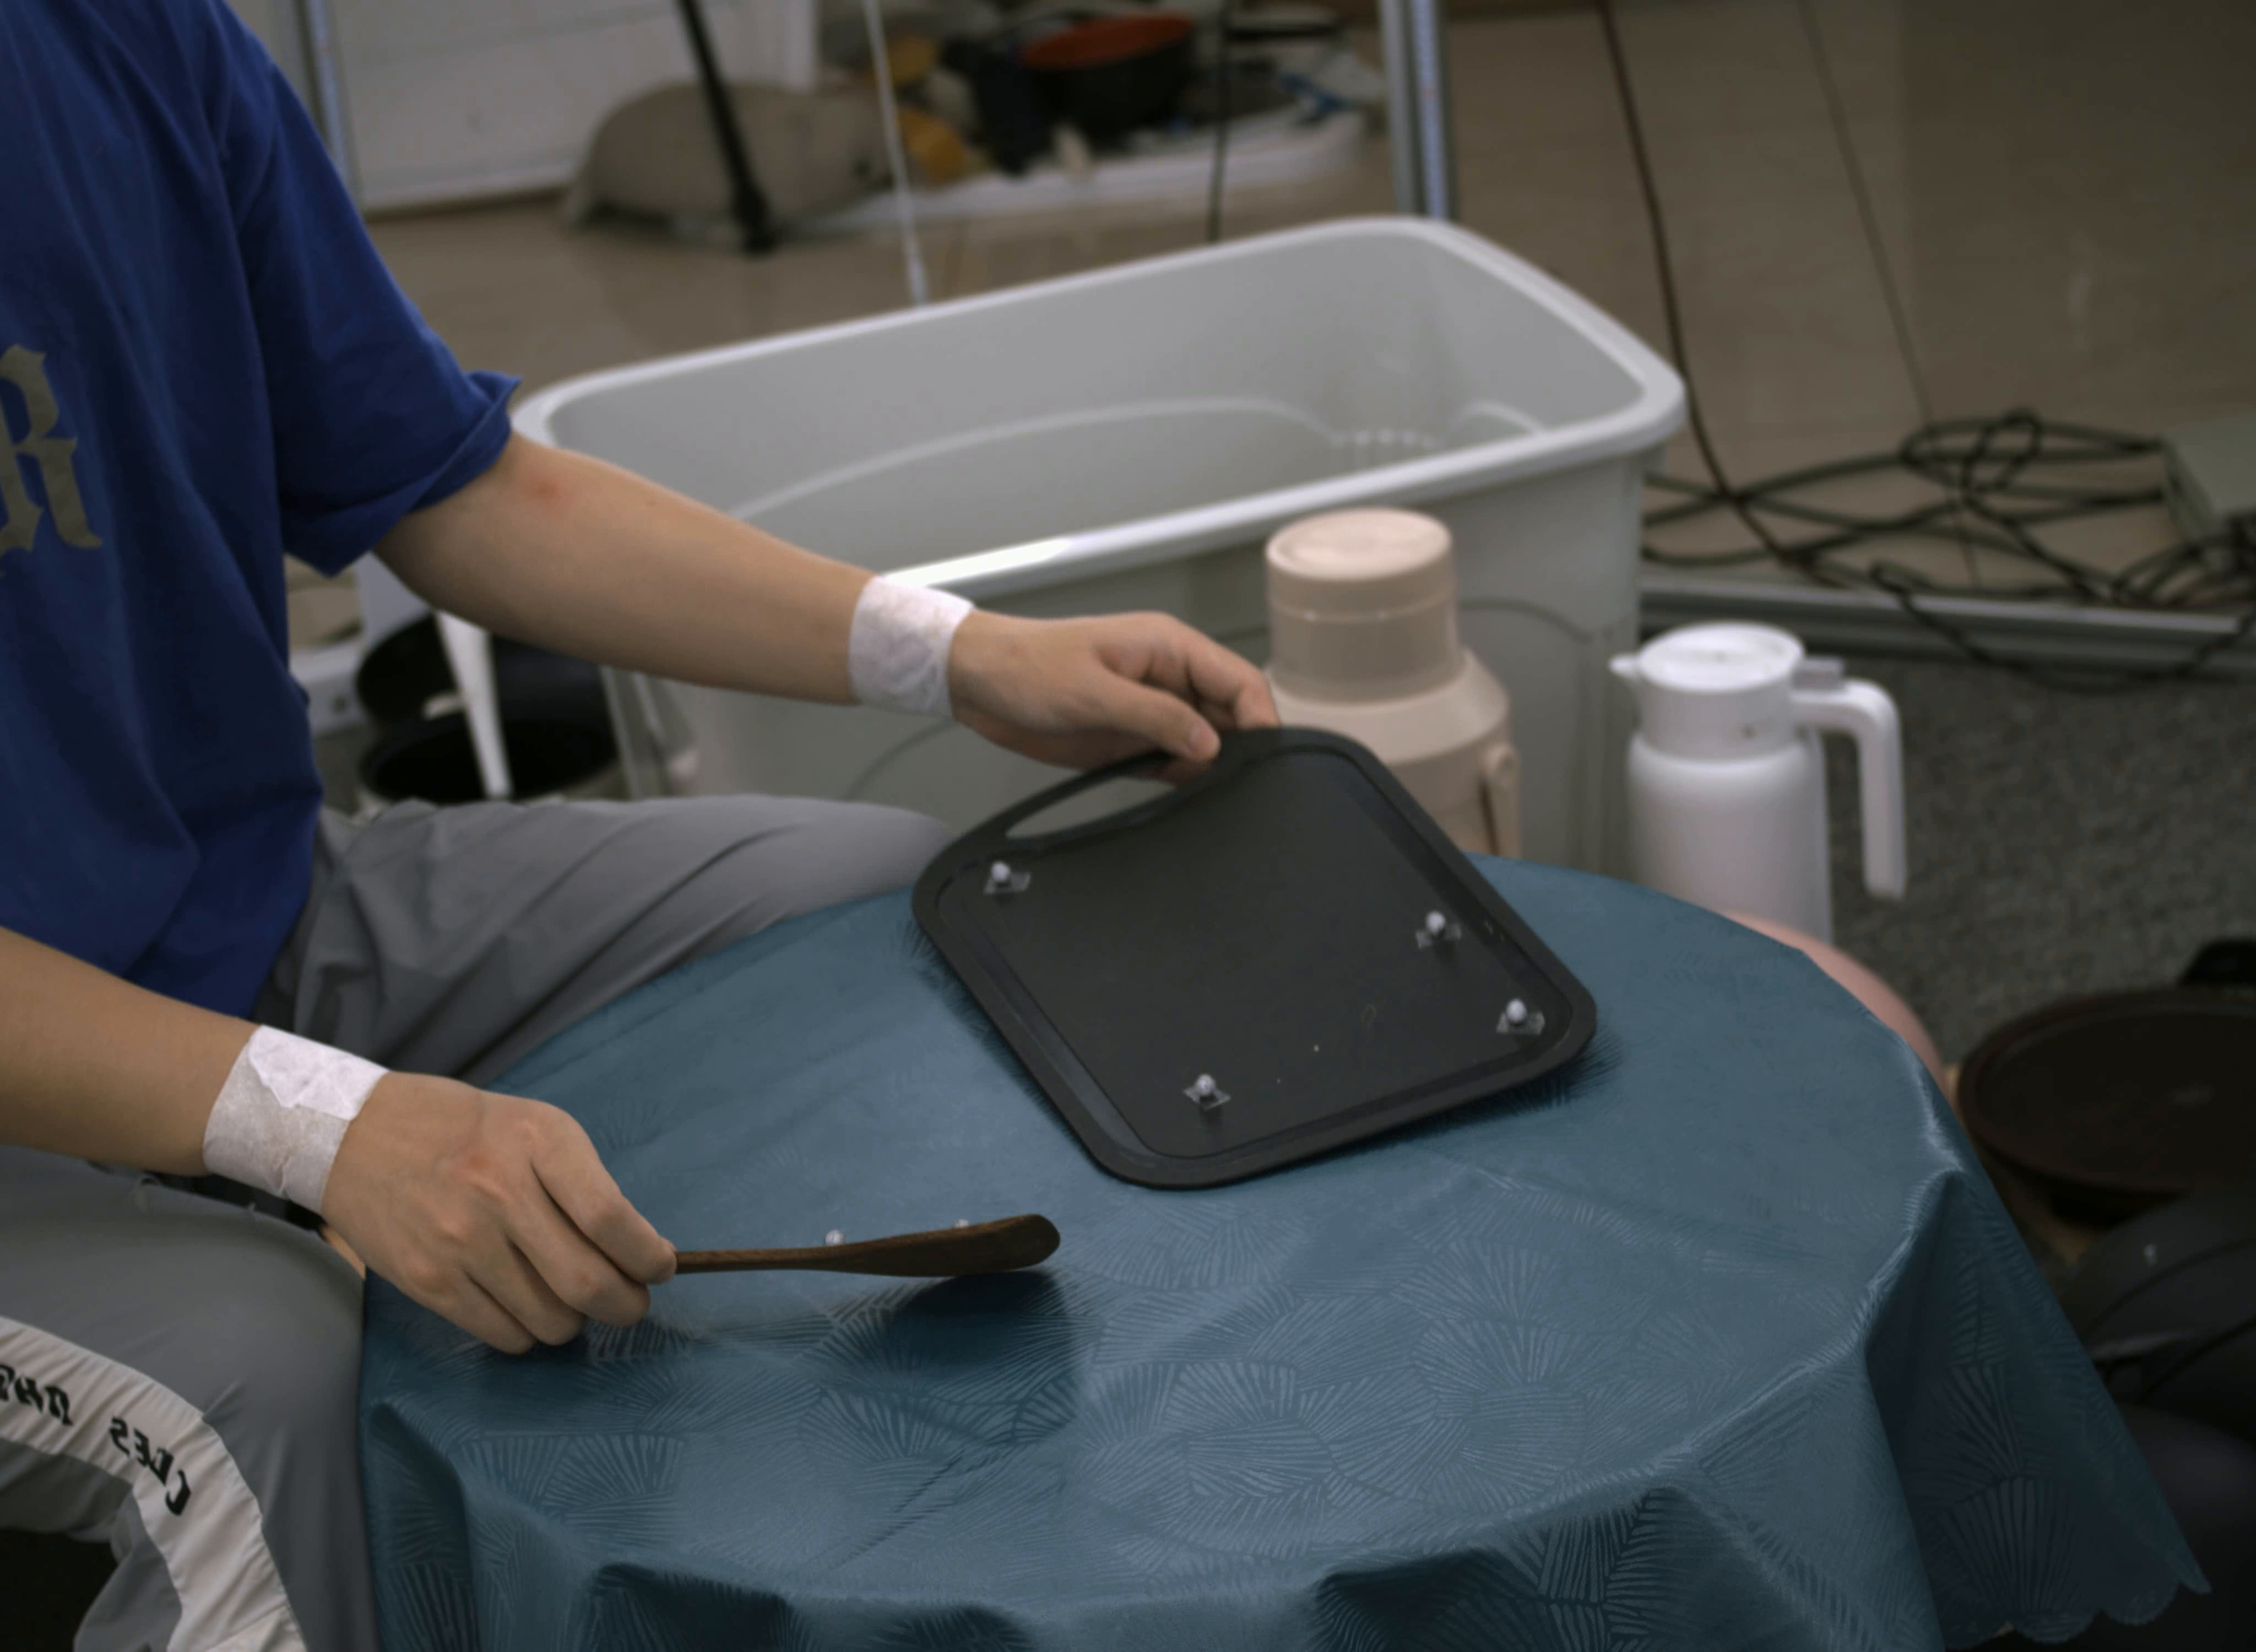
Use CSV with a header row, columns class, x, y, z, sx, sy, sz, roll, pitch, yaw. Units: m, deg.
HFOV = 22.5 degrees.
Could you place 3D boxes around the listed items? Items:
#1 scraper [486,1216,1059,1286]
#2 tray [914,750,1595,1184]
class,x,y,z,sx,sy,sz,roll,pitch,yaw
scraper,-0.130,0.159,2.076,0.211,0.011,0.076,-4,-14,5
tray,0.042,0.048,2.292,0.210,0.010,0.321,-17,30,-13
